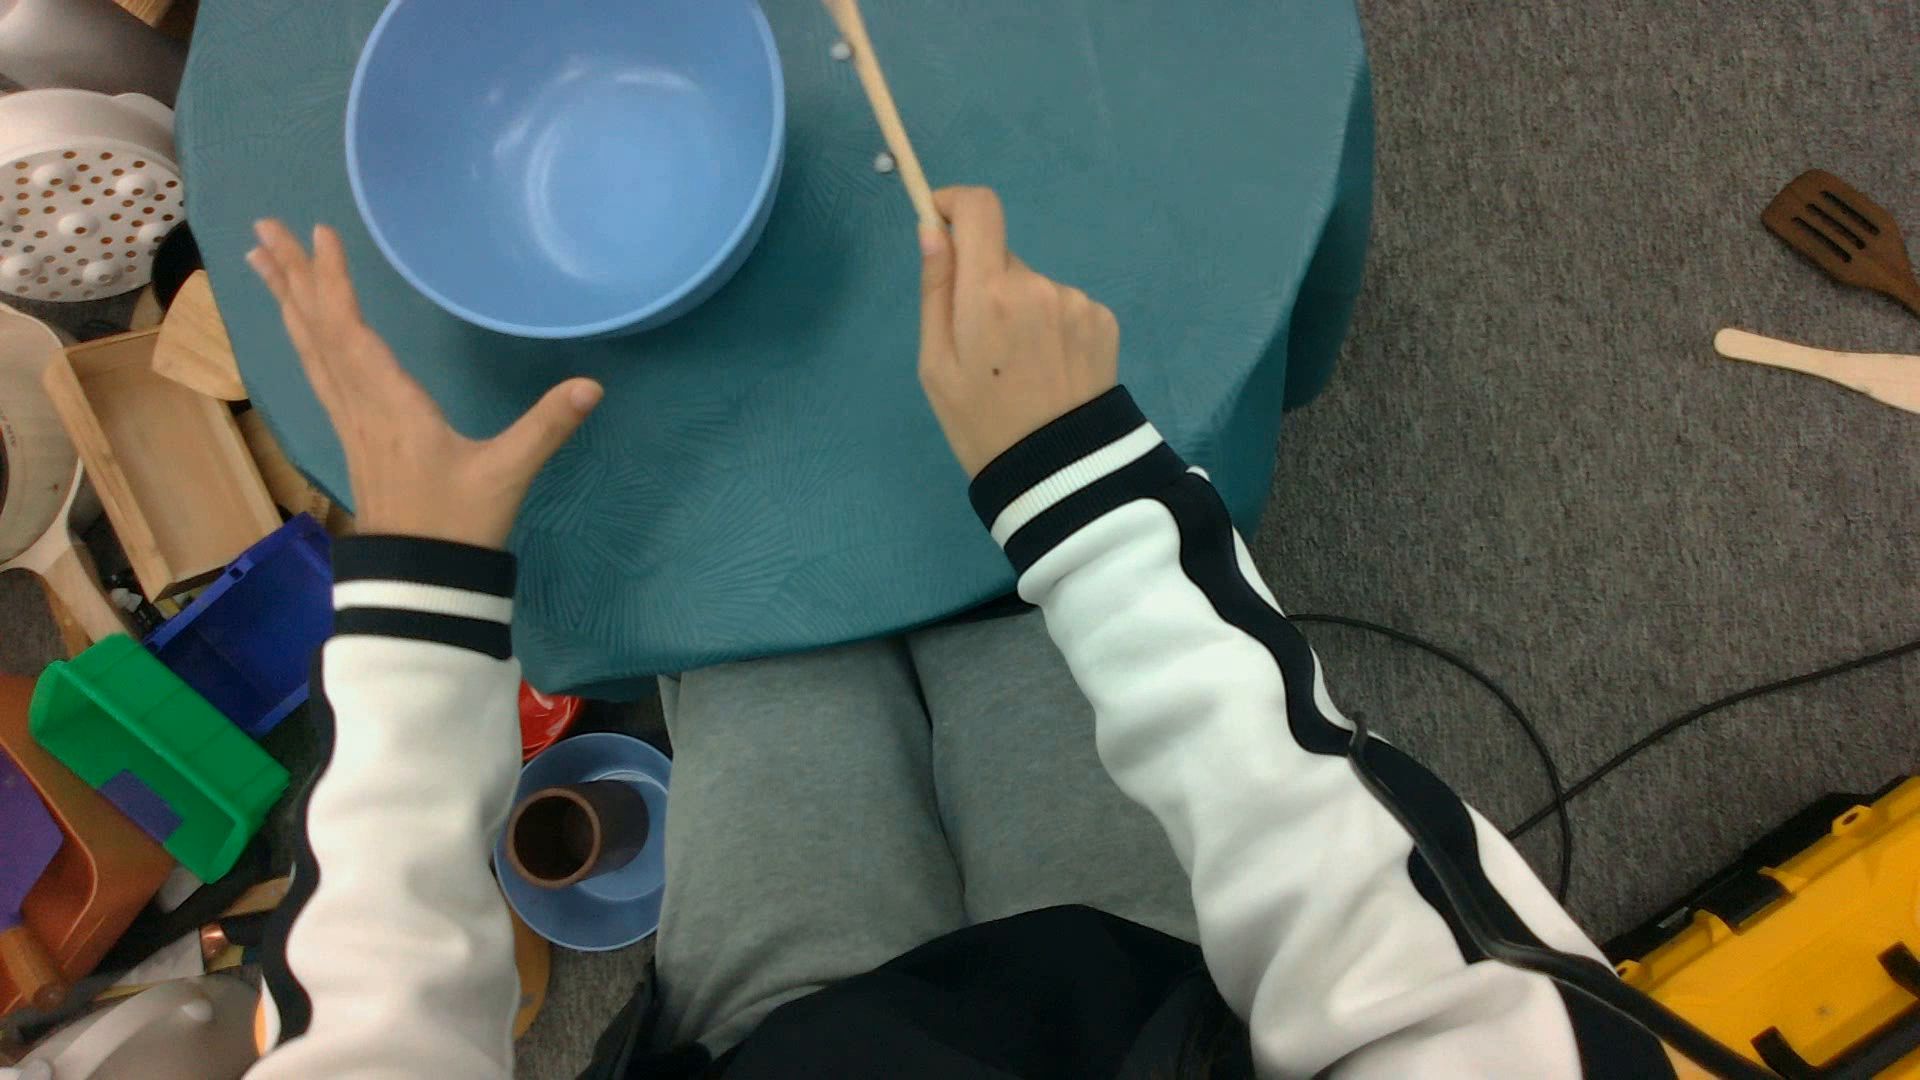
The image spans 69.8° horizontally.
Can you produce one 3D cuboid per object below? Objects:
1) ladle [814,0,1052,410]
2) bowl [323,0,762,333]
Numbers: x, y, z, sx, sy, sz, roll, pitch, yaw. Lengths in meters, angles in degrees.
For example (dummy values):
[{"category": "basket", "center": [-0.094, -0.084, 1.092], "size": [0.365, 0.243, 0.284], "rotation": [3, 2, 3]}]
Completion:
[{"category": "ladle", "center": [-0.045, -0.157, 0.548], "size": [0.073, 0.072, 0.254], "rotation": [-22, 86, -34]}, {"category": "bowl", "center": [-0.179, -0.181, 0.645], "size": [0.196, 0.095, 0.197], "rotation": [-1, 81, 5]}]
